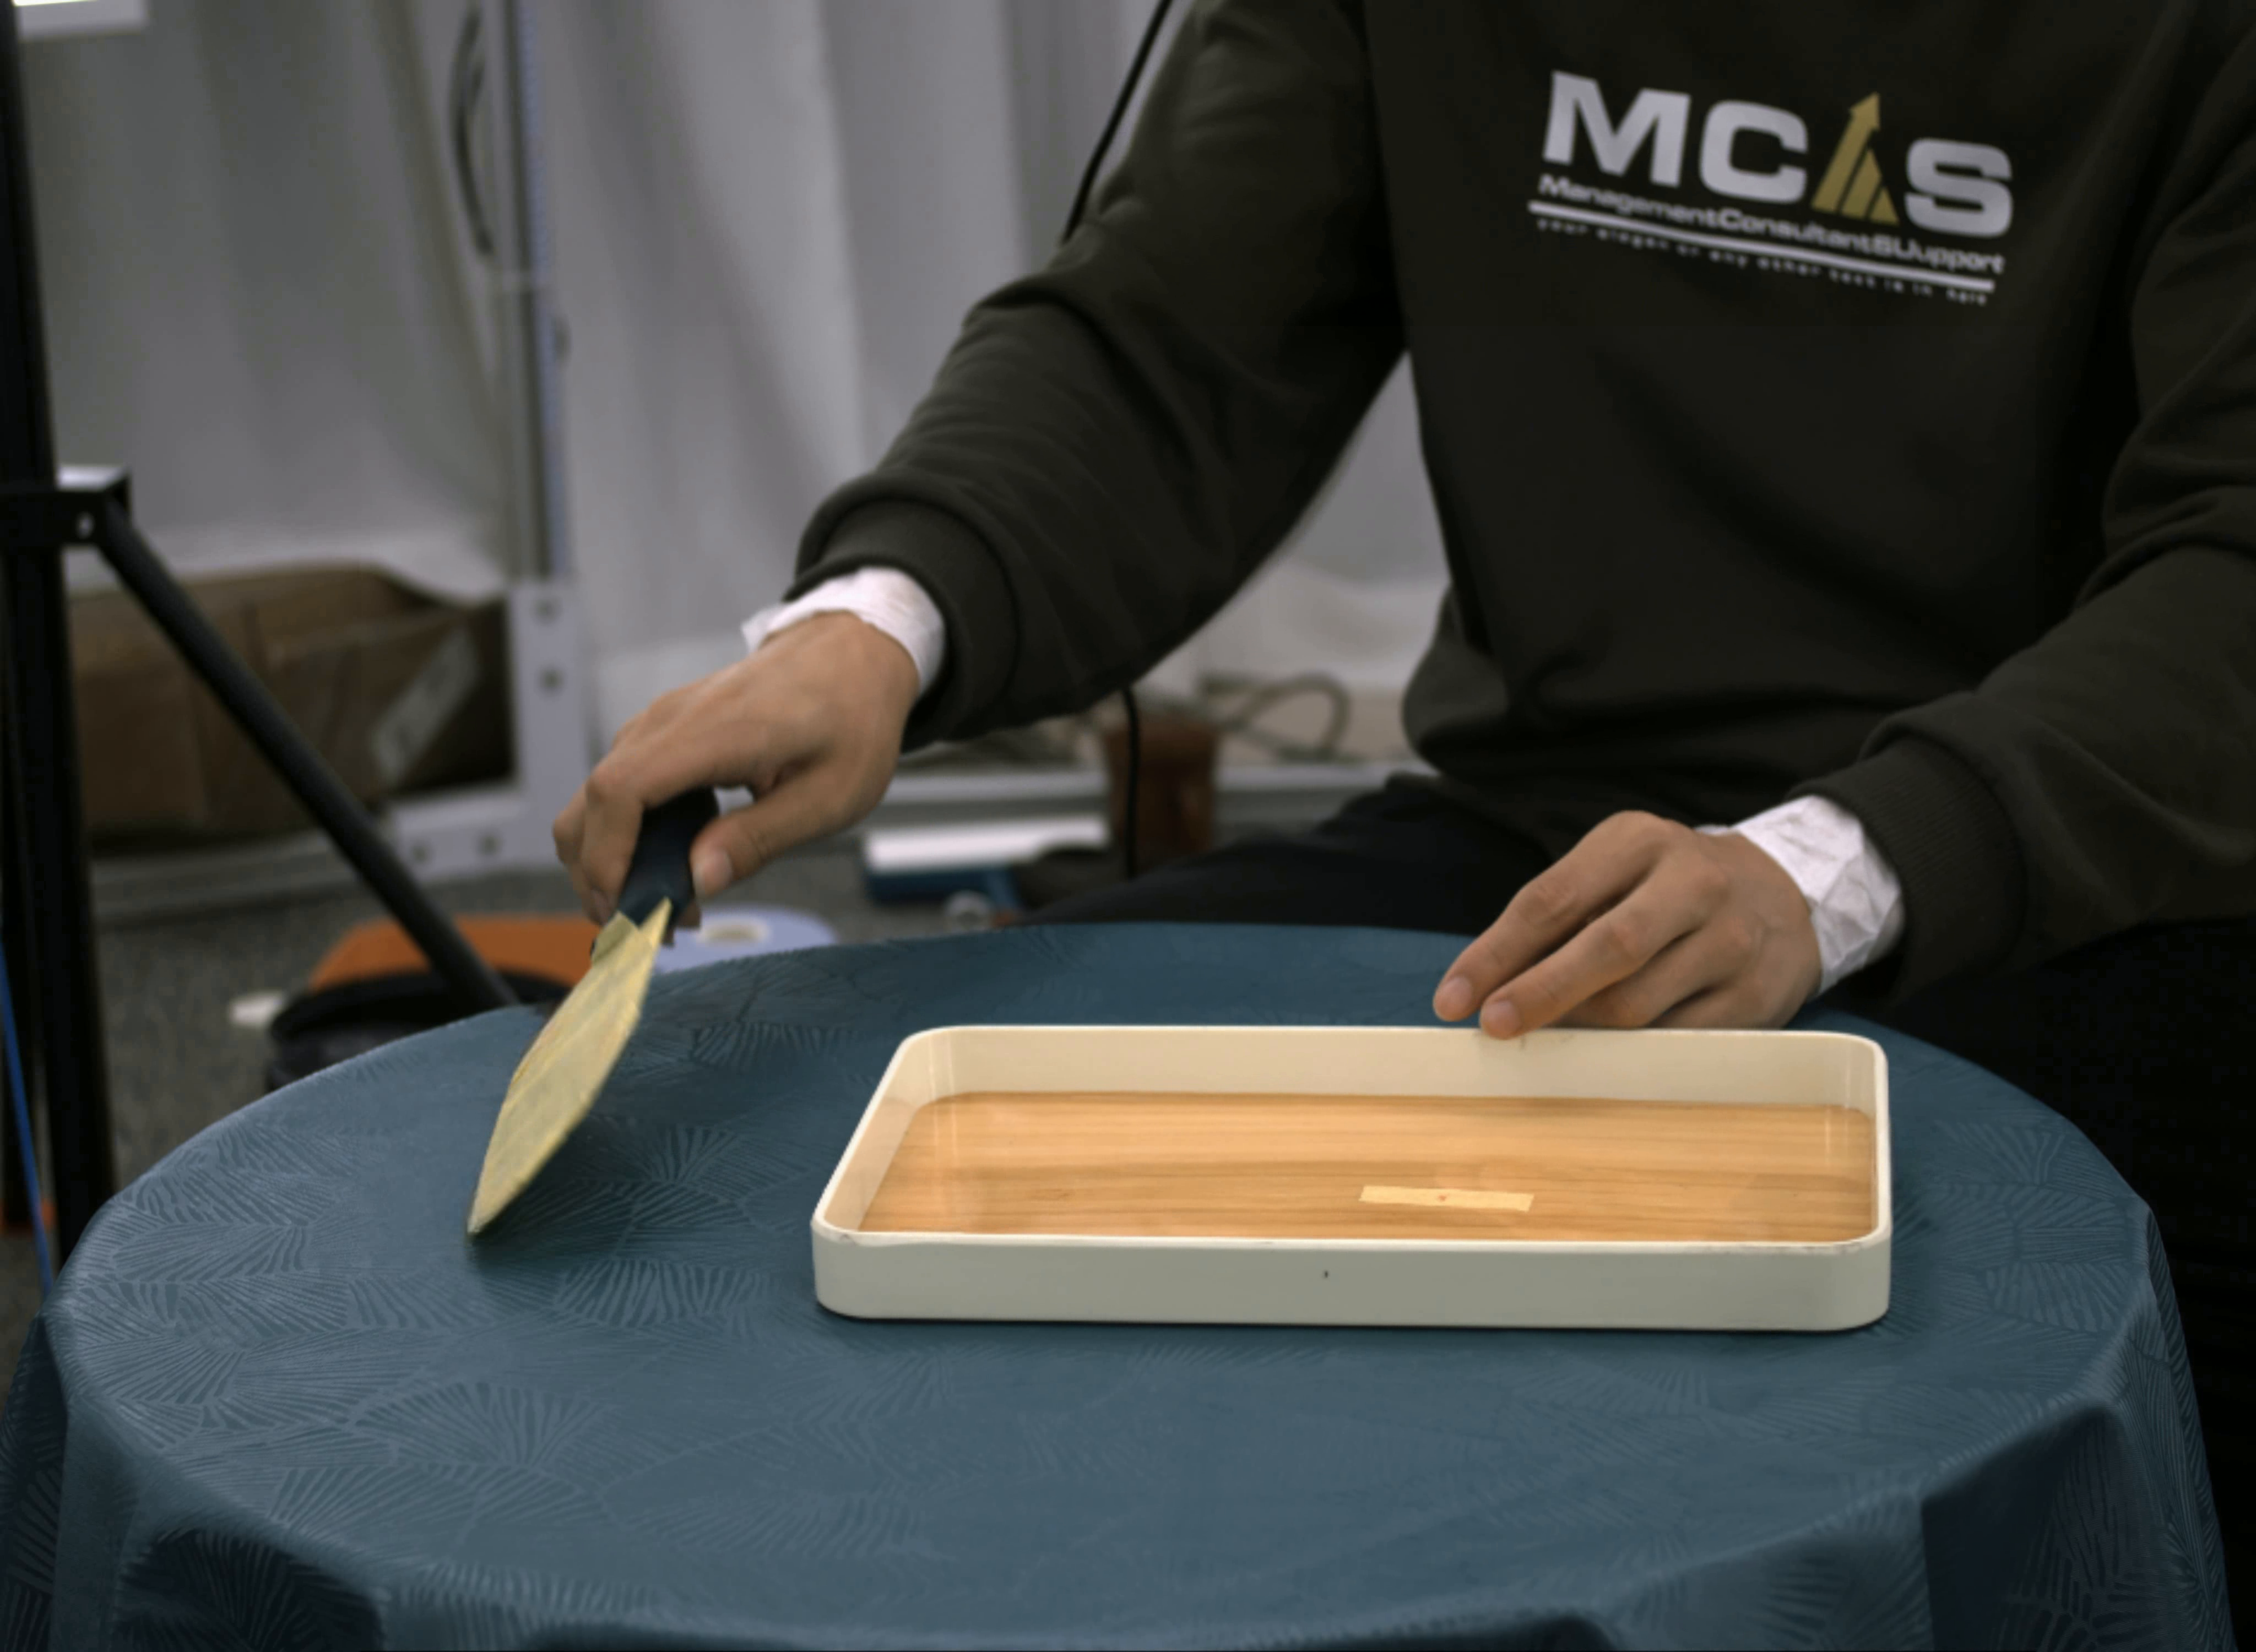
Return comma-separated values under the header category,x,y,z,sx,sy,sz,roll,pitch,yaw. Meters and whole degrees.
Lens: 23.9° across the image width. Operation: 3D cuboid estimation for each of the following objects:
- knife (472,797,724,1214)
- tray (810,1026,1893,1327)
category,x,y,z,sx,sy,sz,roll,pitch,yaw
knife,-0.164,0.053,1.657,0.081,0.027,0.290,-40,13,17
tray,0.069,0.100,1.532,0.301,0.027,0.191,0,15,9
